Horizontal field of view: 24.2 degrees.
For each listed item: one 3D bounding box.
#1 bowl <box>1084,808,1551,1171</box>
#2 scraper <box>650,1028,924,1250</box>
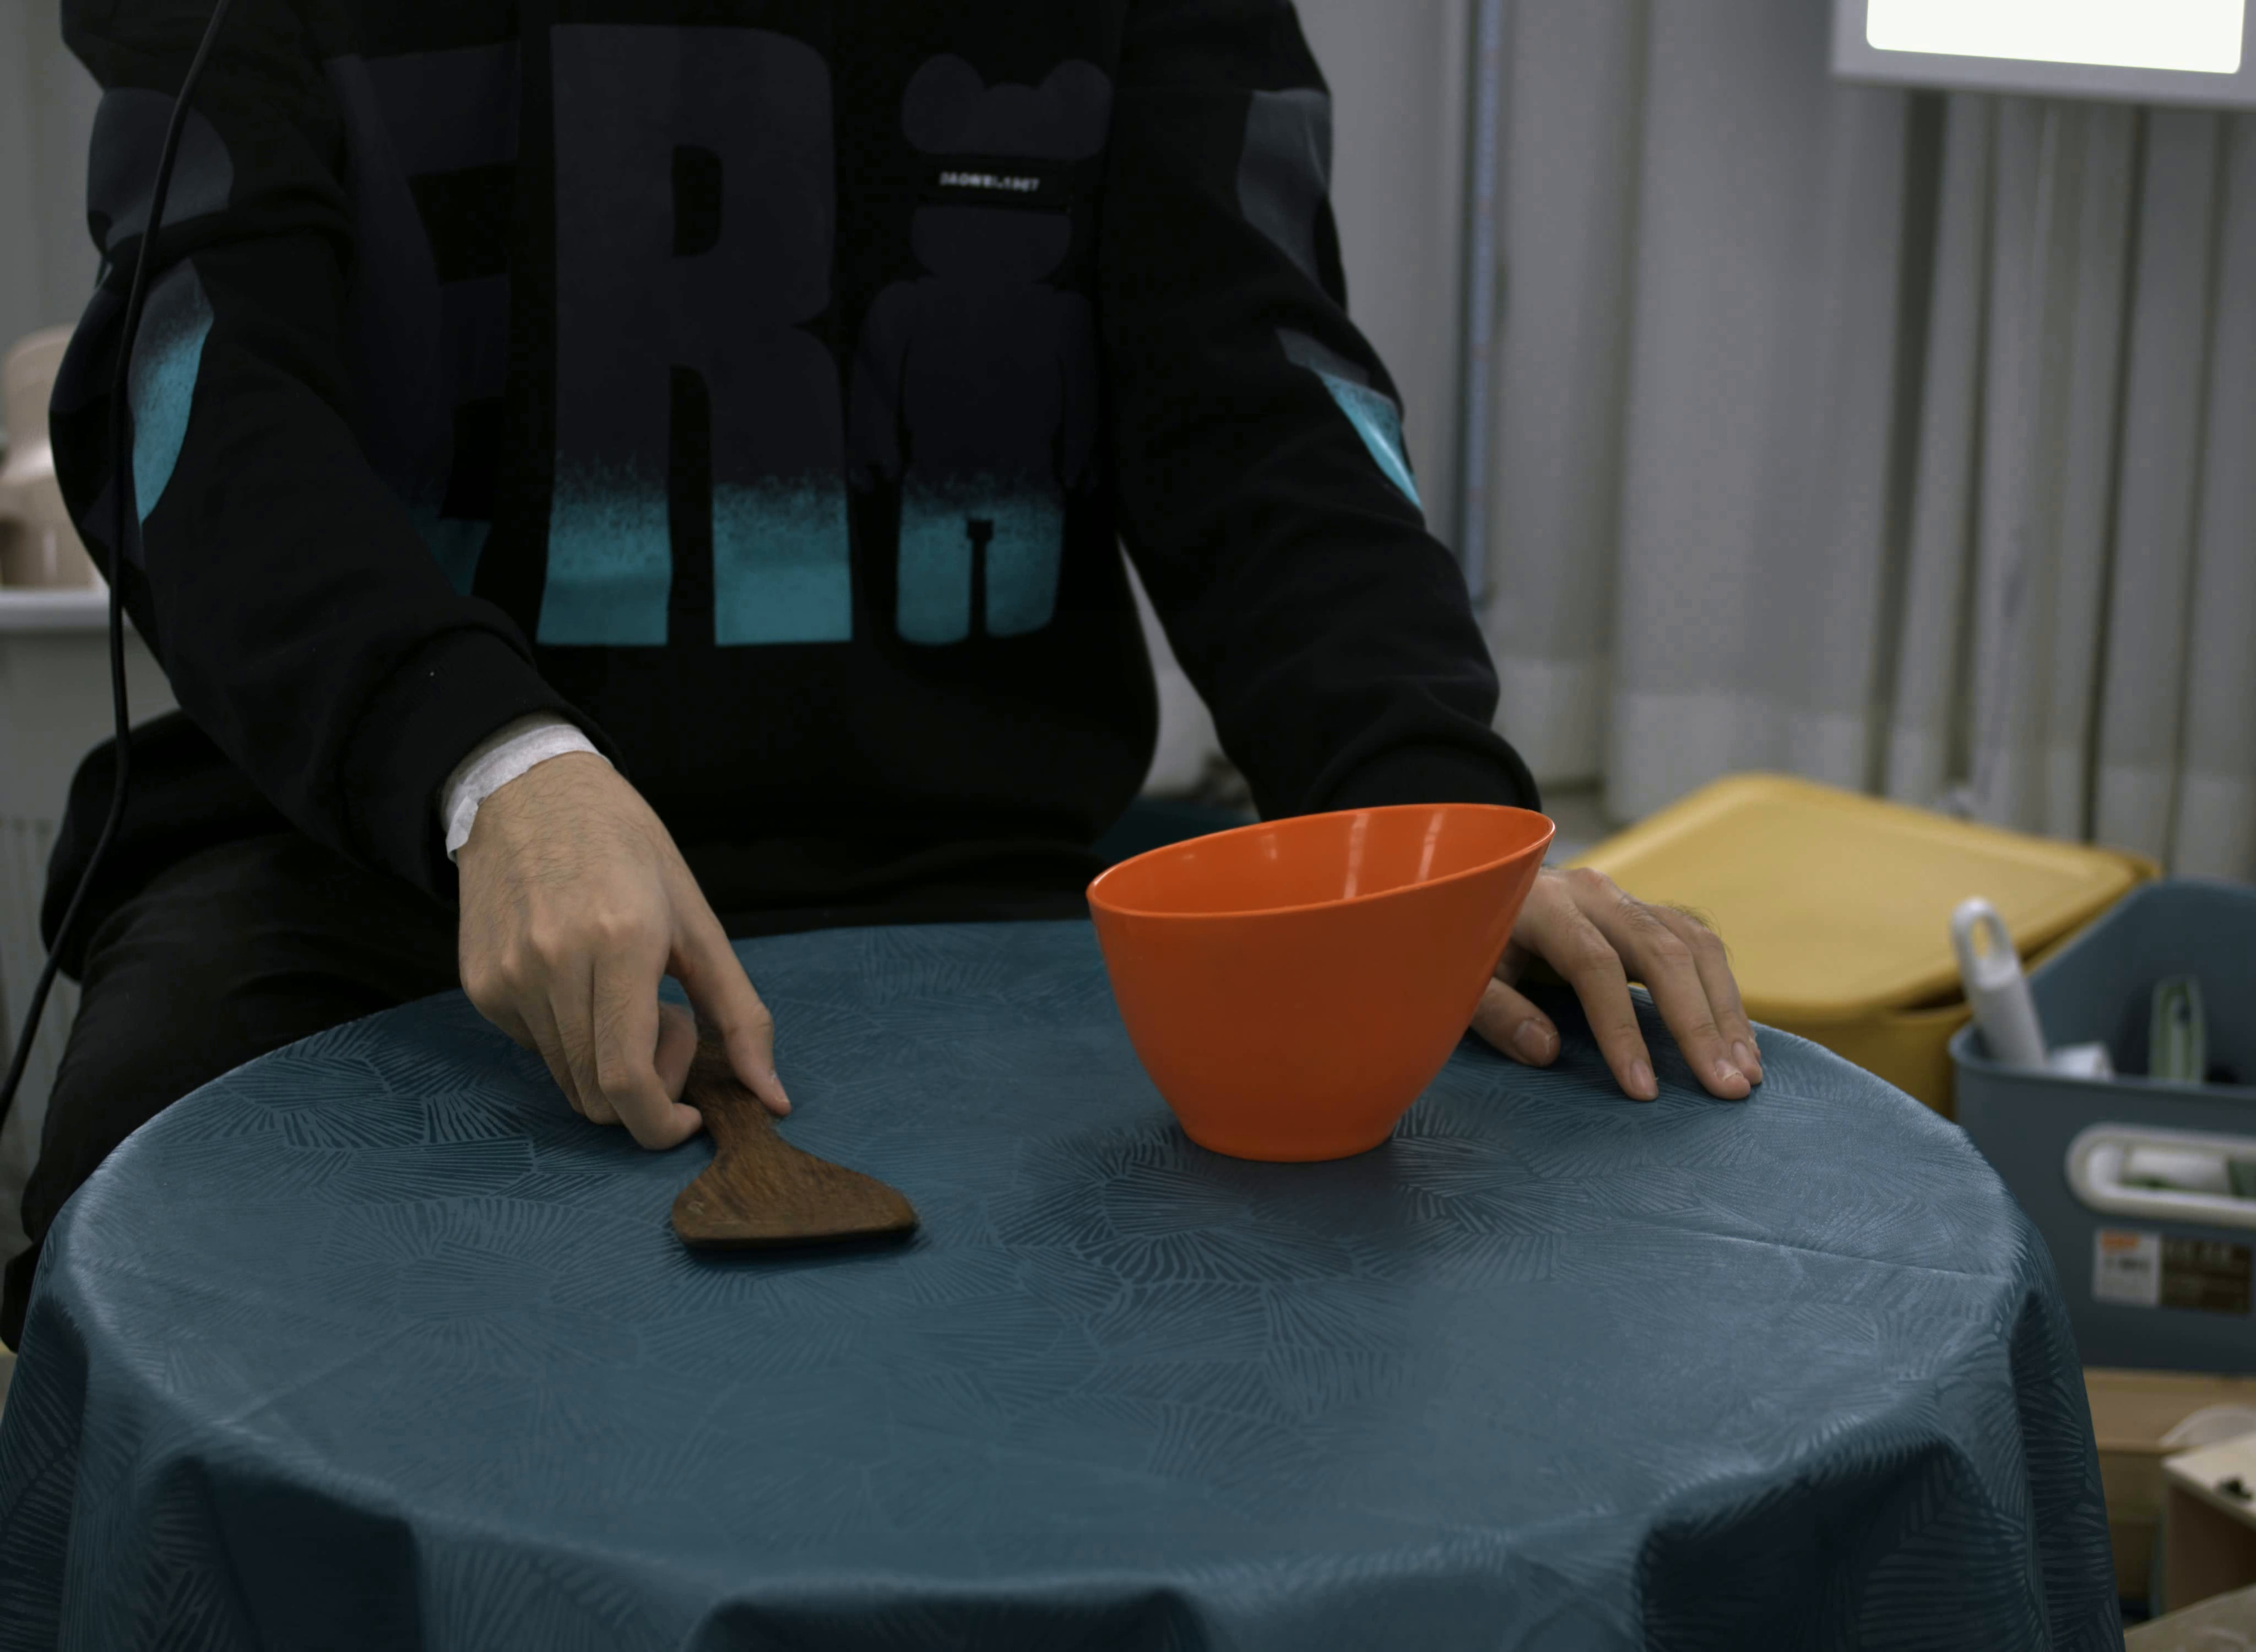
[{"bbox_3d":[0.060,0.051,1.663,0.147,0.105,0.147,-1,16,1],"label":"bowl"},{"bbox_3d":[-0.120,0.098,1.657,0.076,0.011,0.209,-2,16,-14],"label":"scraper"}]
